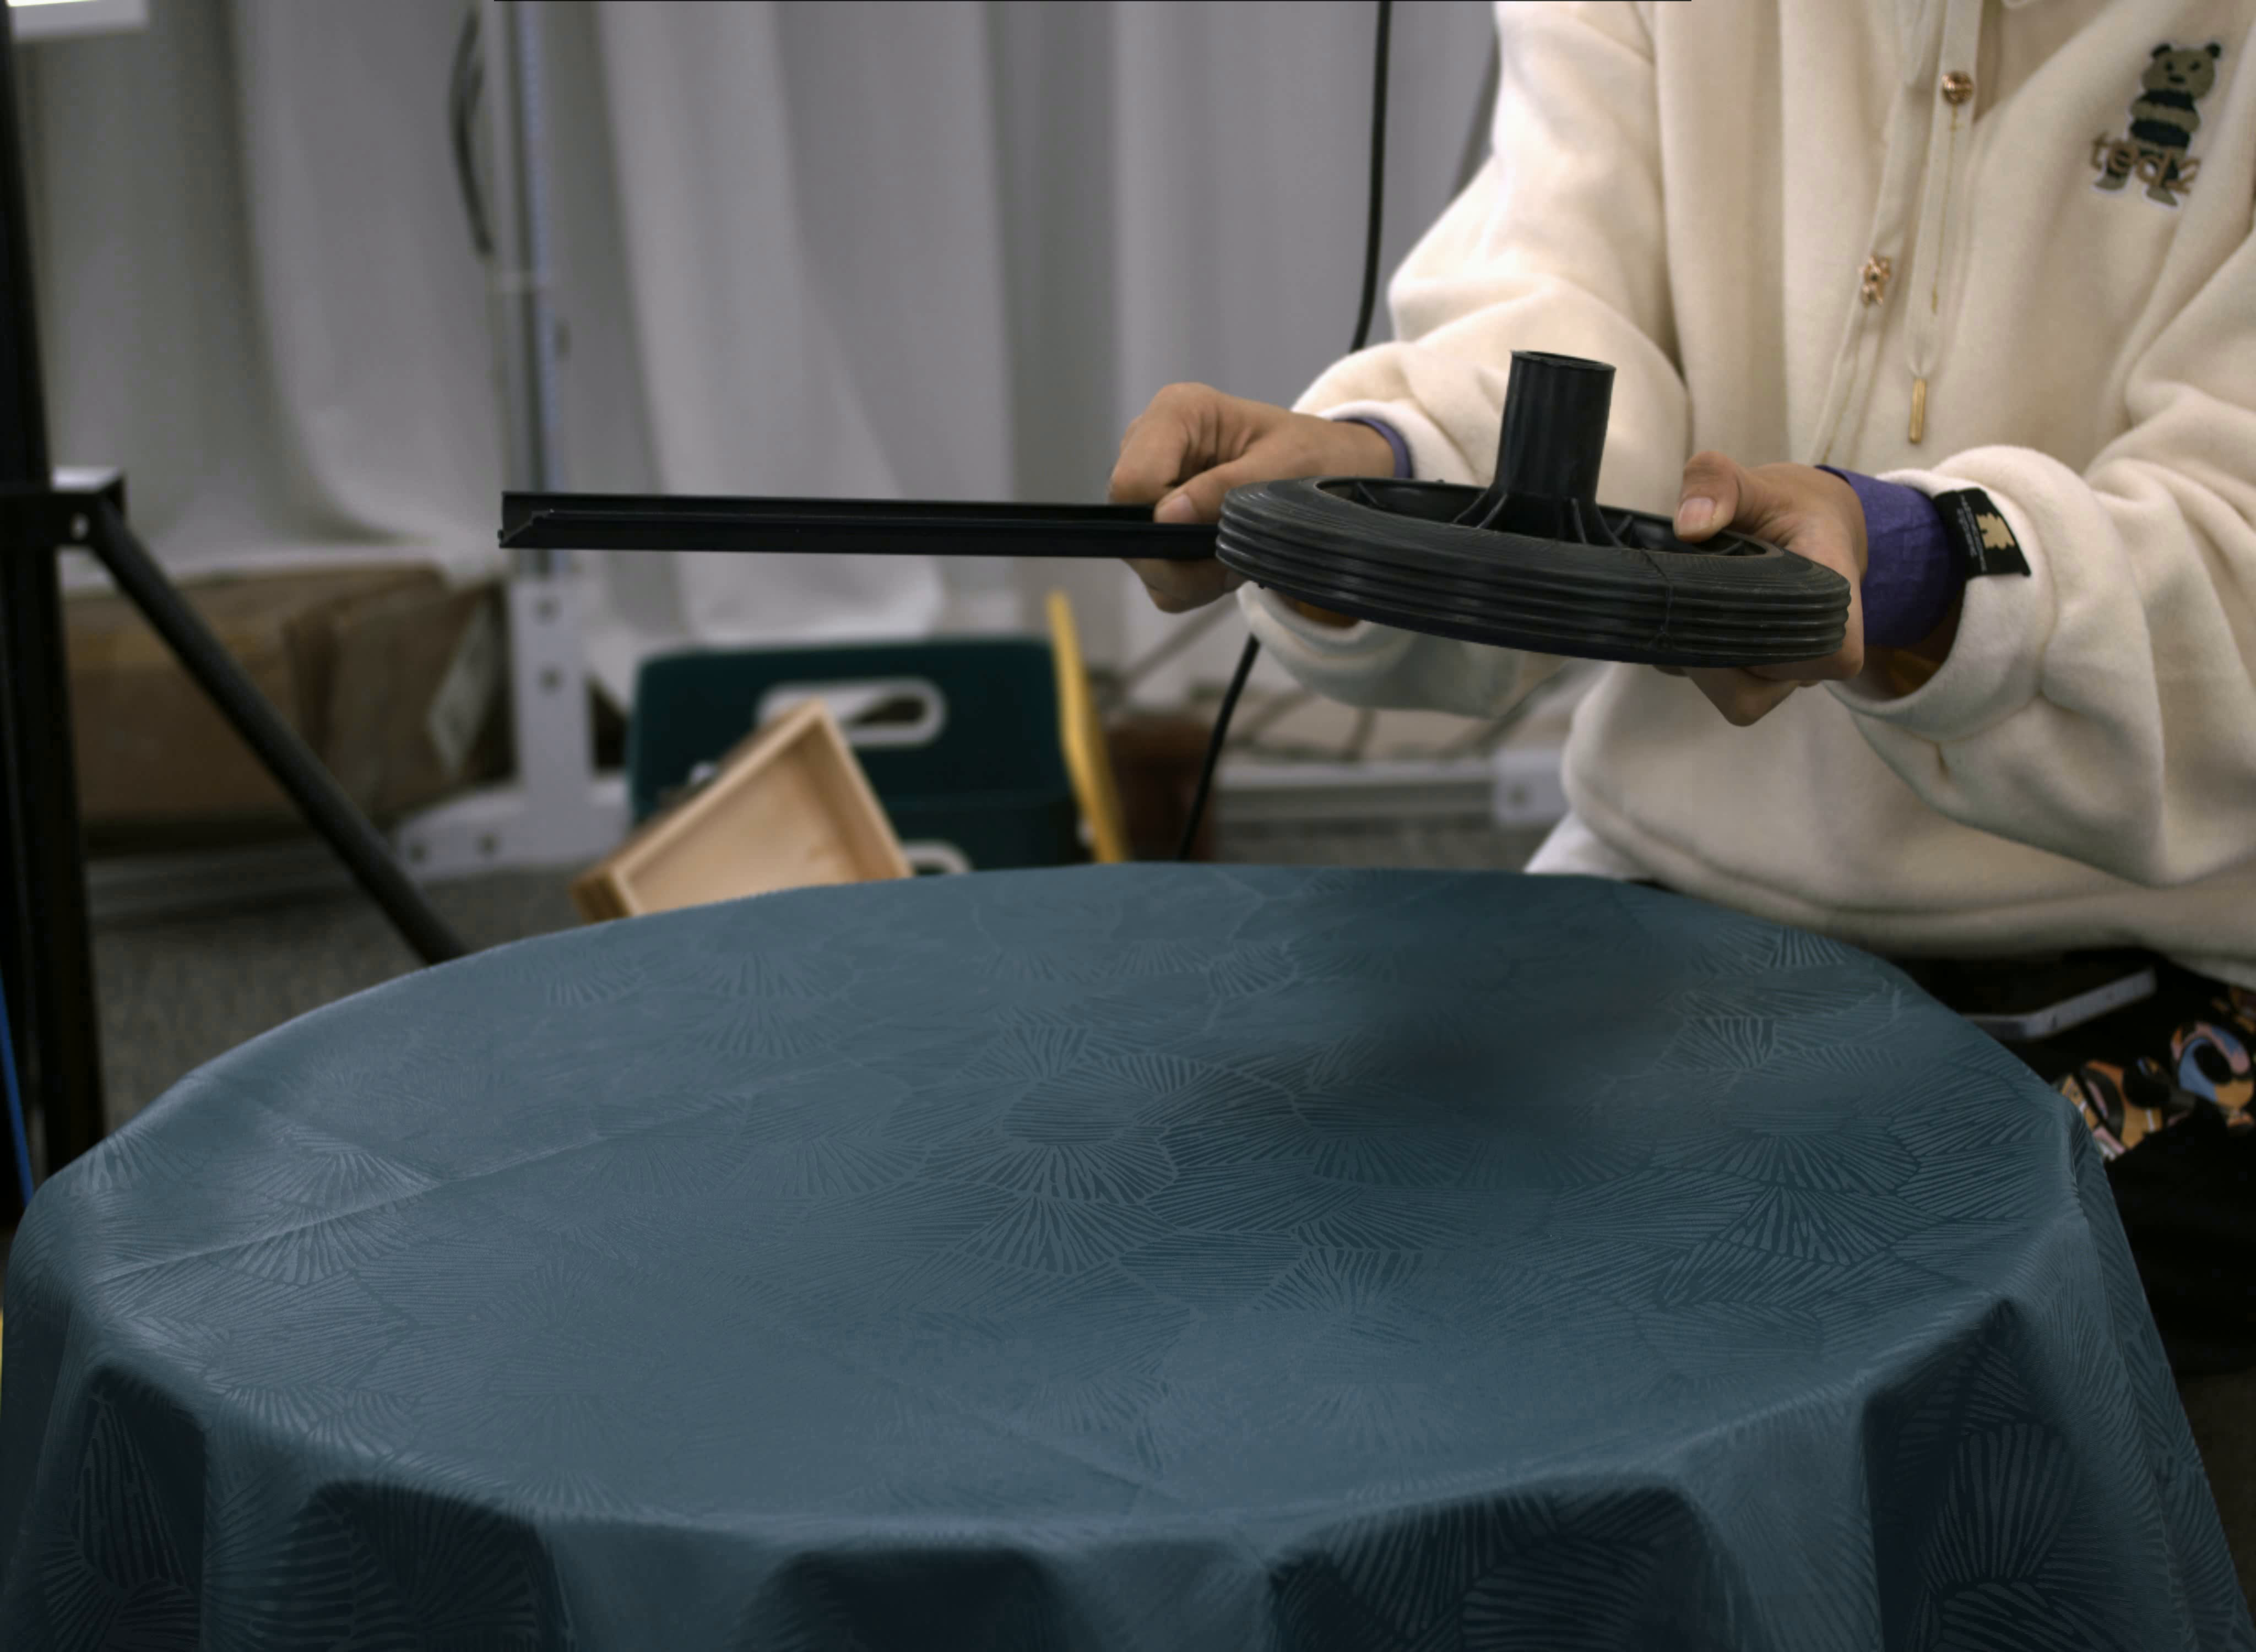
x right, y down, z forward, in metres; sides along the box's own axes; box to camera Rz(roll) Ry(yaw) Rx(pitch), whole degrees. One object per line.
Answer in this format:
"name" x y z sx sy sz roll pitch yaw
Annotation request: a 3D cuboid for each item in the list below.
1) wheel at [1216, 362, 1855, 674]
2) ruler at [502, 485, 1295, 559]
"wheel" 0.123 -0.094 1.564 0.192 0.079 0.185 11 9 16
"ruler" -0.040 -0.094 1.608 0.305 0.017 0.040 0 -10 -28
